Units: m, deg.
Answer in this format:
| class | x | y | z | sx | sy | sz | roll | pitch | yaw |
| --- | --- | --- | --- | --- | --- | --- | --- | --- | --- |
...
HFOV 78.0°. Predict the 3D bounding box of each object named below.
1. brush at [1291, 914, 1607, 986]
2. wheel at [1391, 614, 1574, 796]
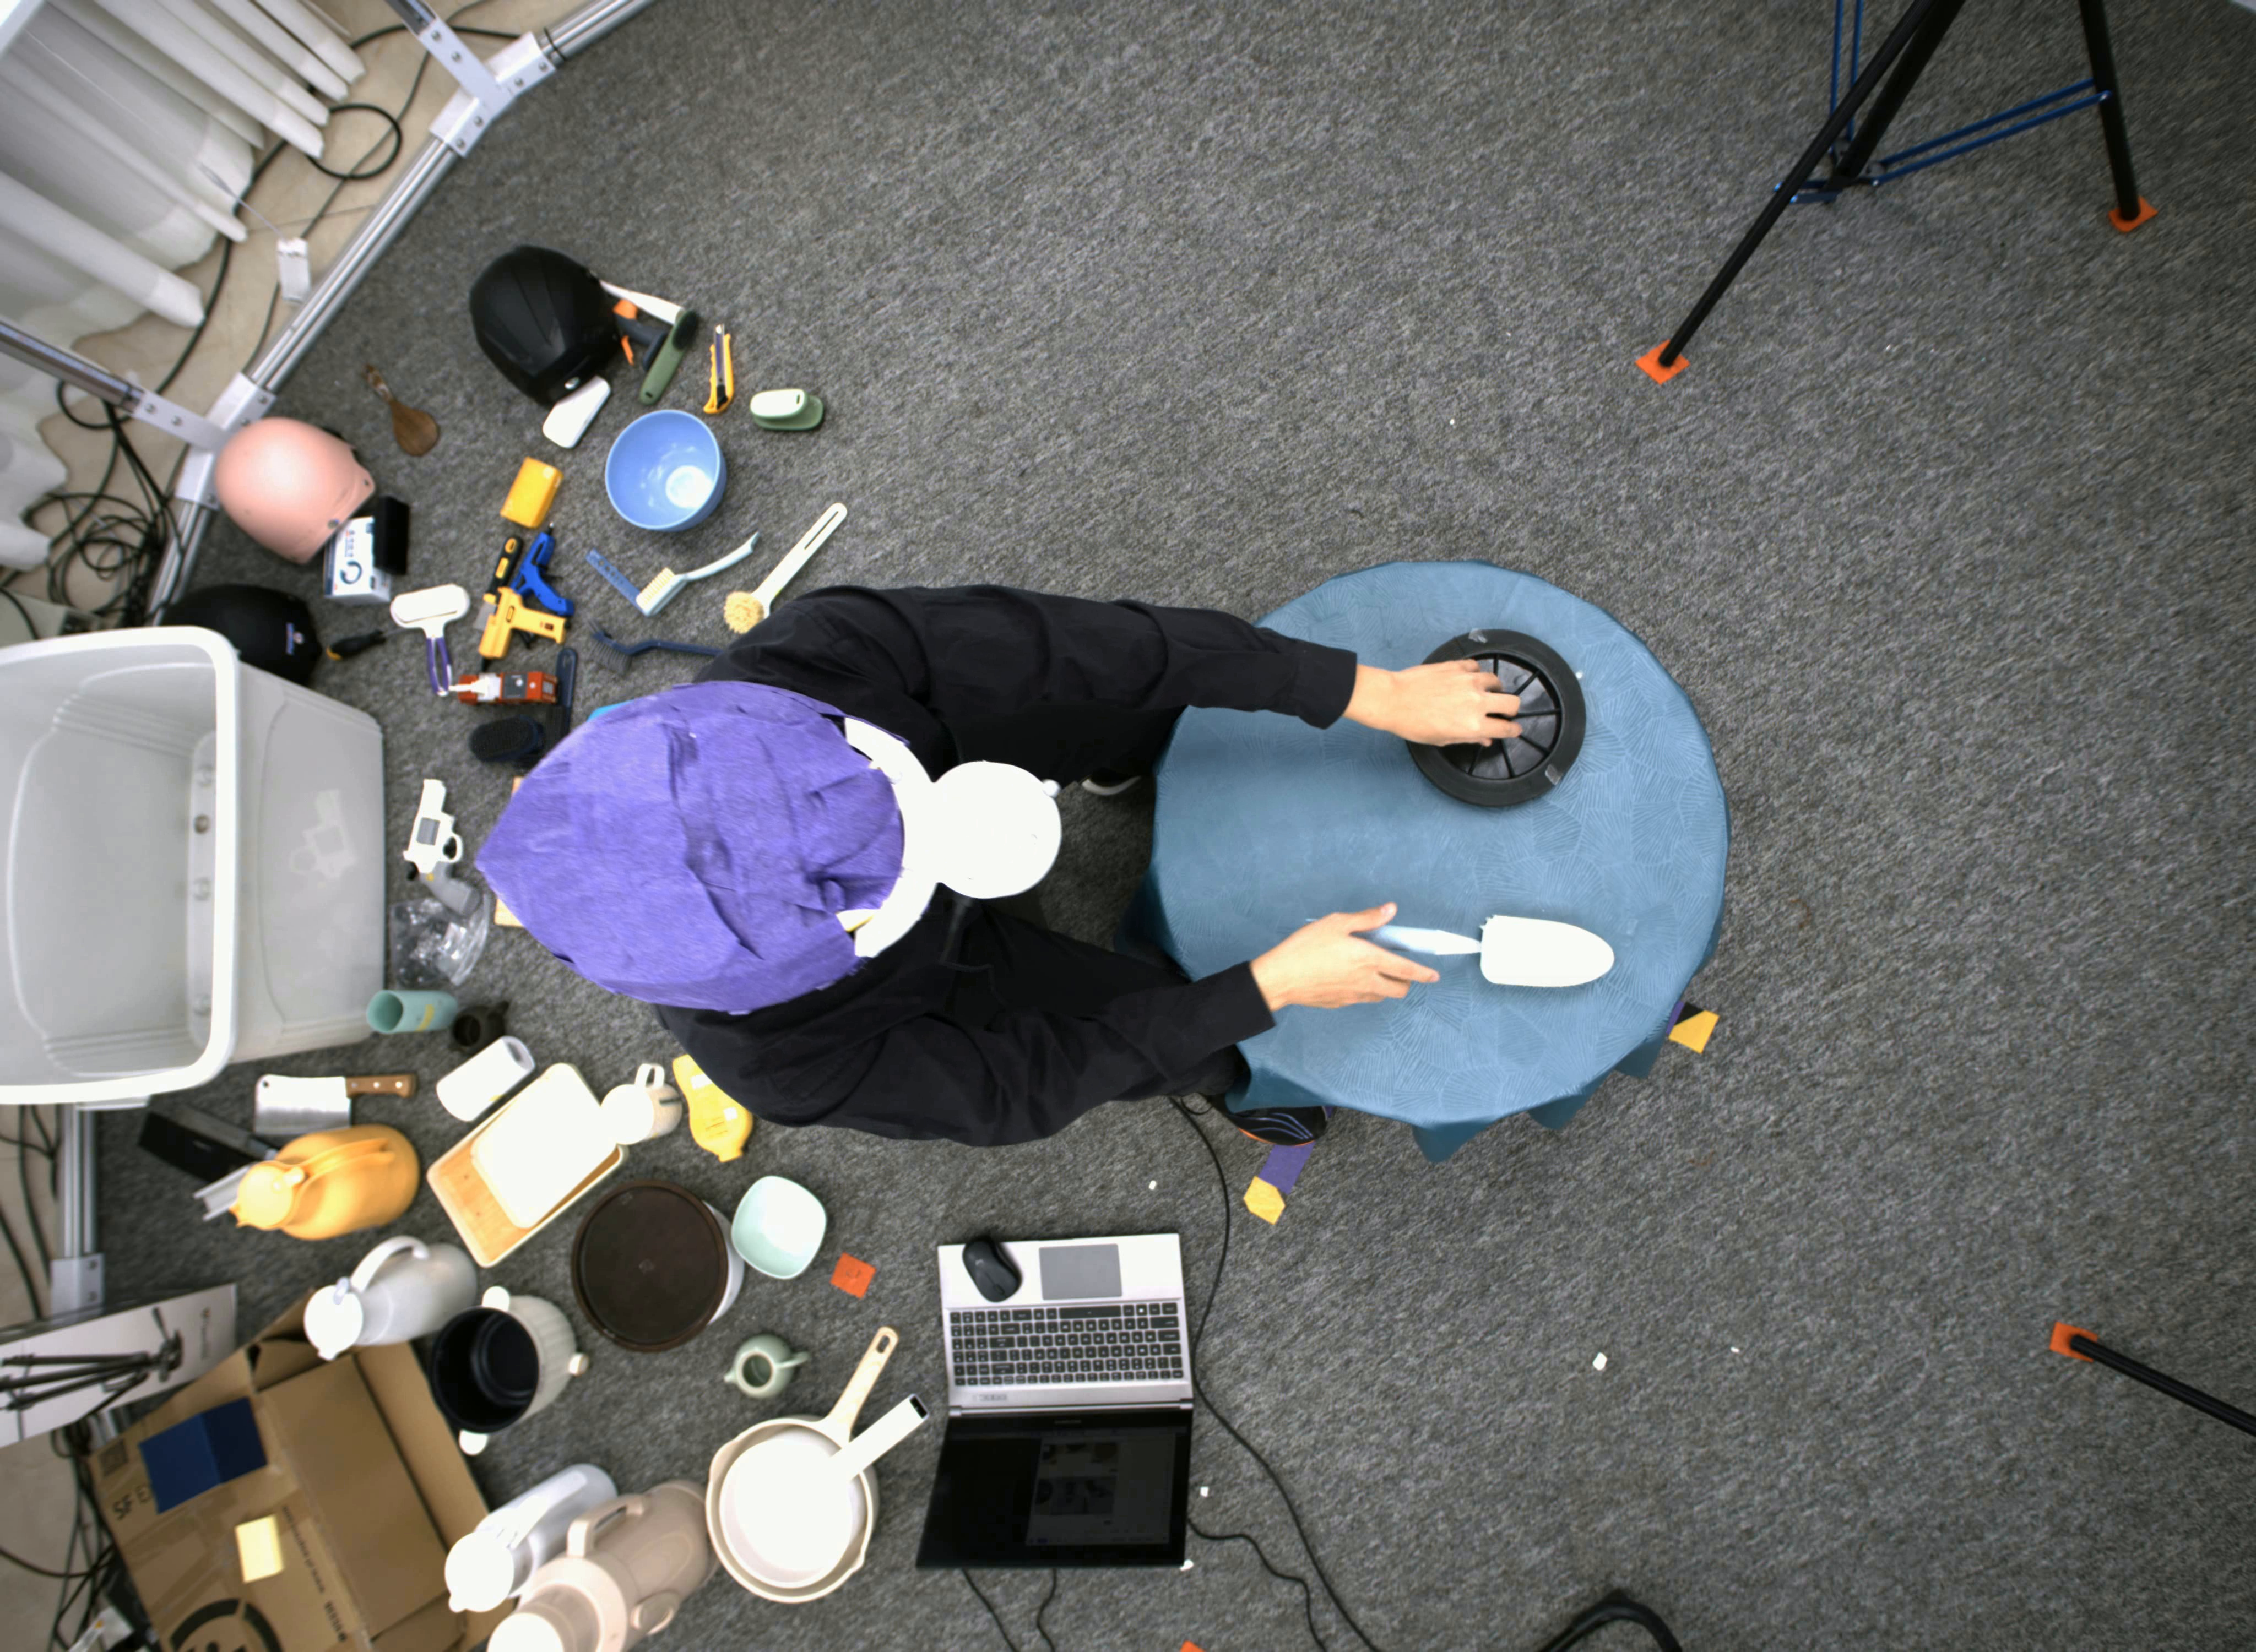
| class | x | y | z | sx | sy | sz | roll | pitch | yaw |
| --- | --- | --- | --- | --- | --- | --- | --- | --- | --- |
| brush | 0.322 | 0.113 | 1.404 | 0.326 | 0.087 | 0.081 | 6 | 50 | -2 |
| wheel | 0.366 | -0.130 | 1.408 | 0.187 | 0.079 | 0.190 | 33 | 94 | 7 |
